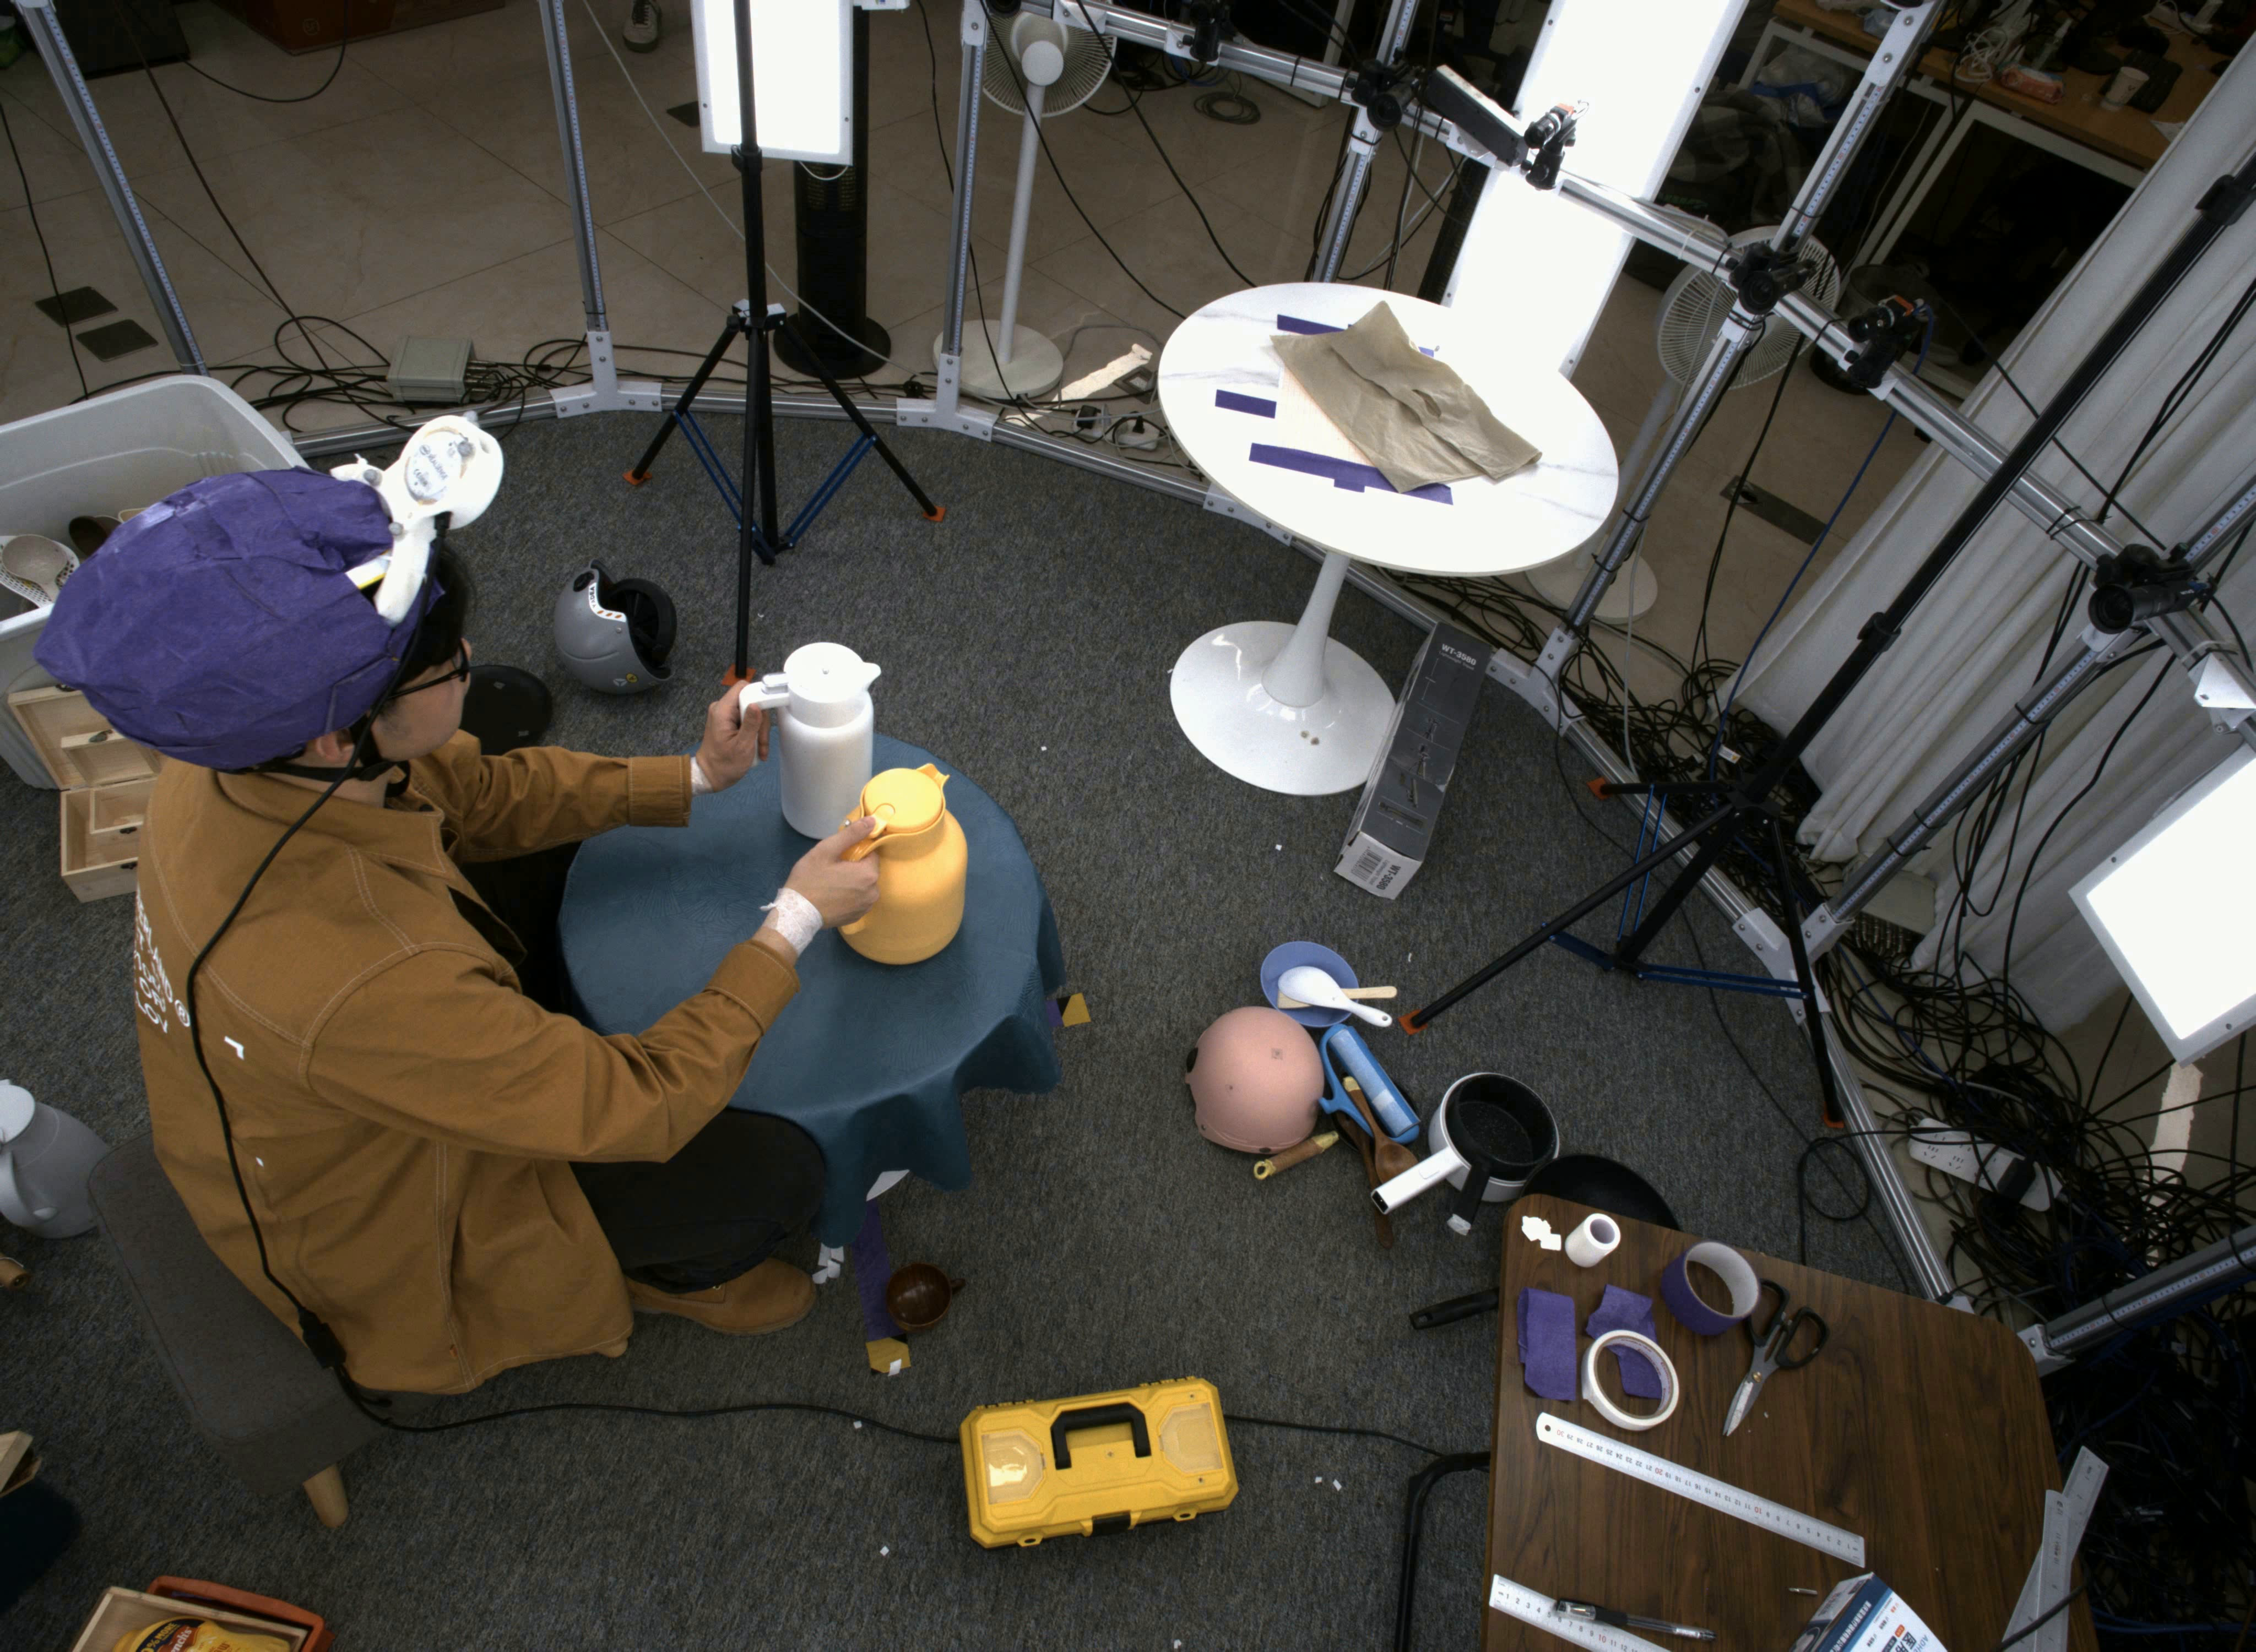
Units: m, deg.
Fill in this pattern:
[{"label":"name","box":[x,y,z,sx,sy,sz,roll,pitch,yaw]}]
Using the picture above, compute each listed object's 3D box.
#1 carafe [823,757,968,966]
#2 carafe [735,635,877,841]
[{"label":"carafe","box":[-0.285,0.049,1.551,0.159,0.267,0.202,32,51,17]},{"label":"carafe","box":[-0.400,-0.104,1.632,0.173,0.274,0.121,-13,58,-21]}]
